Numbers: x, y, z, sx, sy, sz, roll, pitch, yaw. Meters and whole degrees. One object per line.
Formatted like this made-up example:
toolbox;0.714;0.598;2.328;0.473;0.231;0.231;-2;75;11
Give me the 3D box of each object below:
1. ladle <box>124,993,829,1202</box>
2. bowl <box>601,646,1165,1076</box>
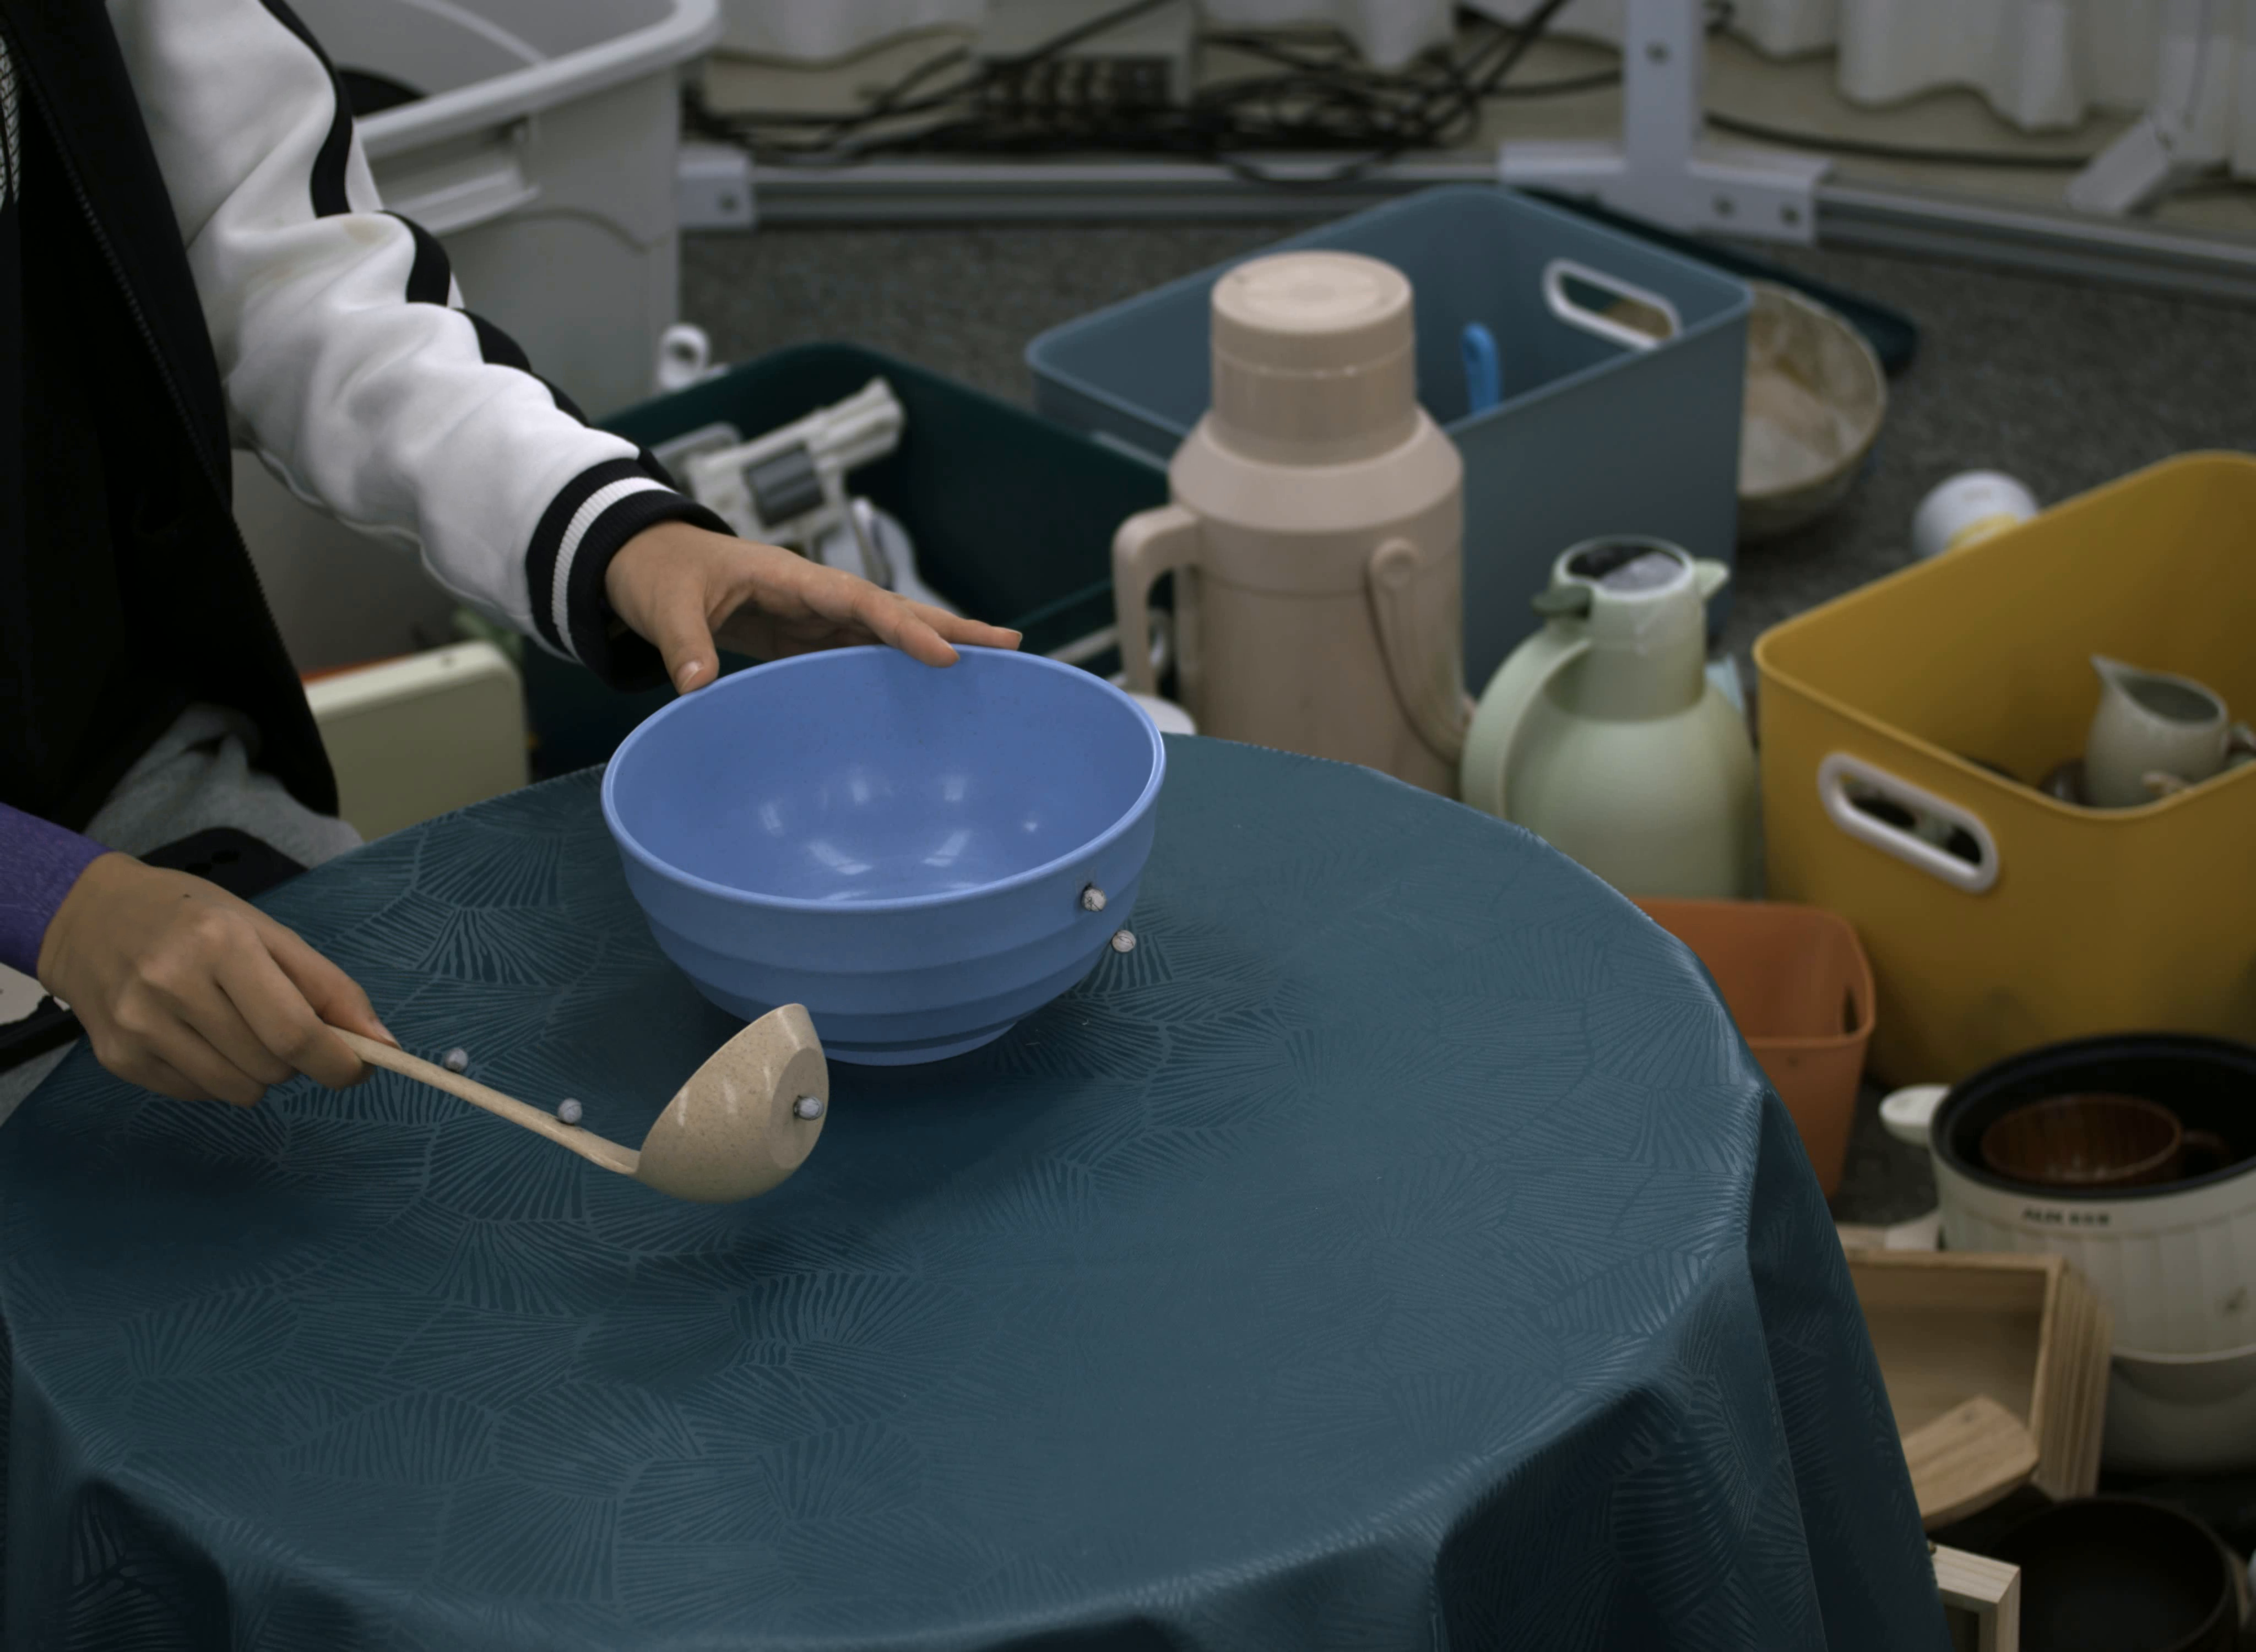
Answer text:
ladle;-0.217;0.060;1.844;0.253;0.073;0.072;17;9;21
bowl;-0.081;0.024;1.964;0.195;0.094;0.199;-3;28;2
